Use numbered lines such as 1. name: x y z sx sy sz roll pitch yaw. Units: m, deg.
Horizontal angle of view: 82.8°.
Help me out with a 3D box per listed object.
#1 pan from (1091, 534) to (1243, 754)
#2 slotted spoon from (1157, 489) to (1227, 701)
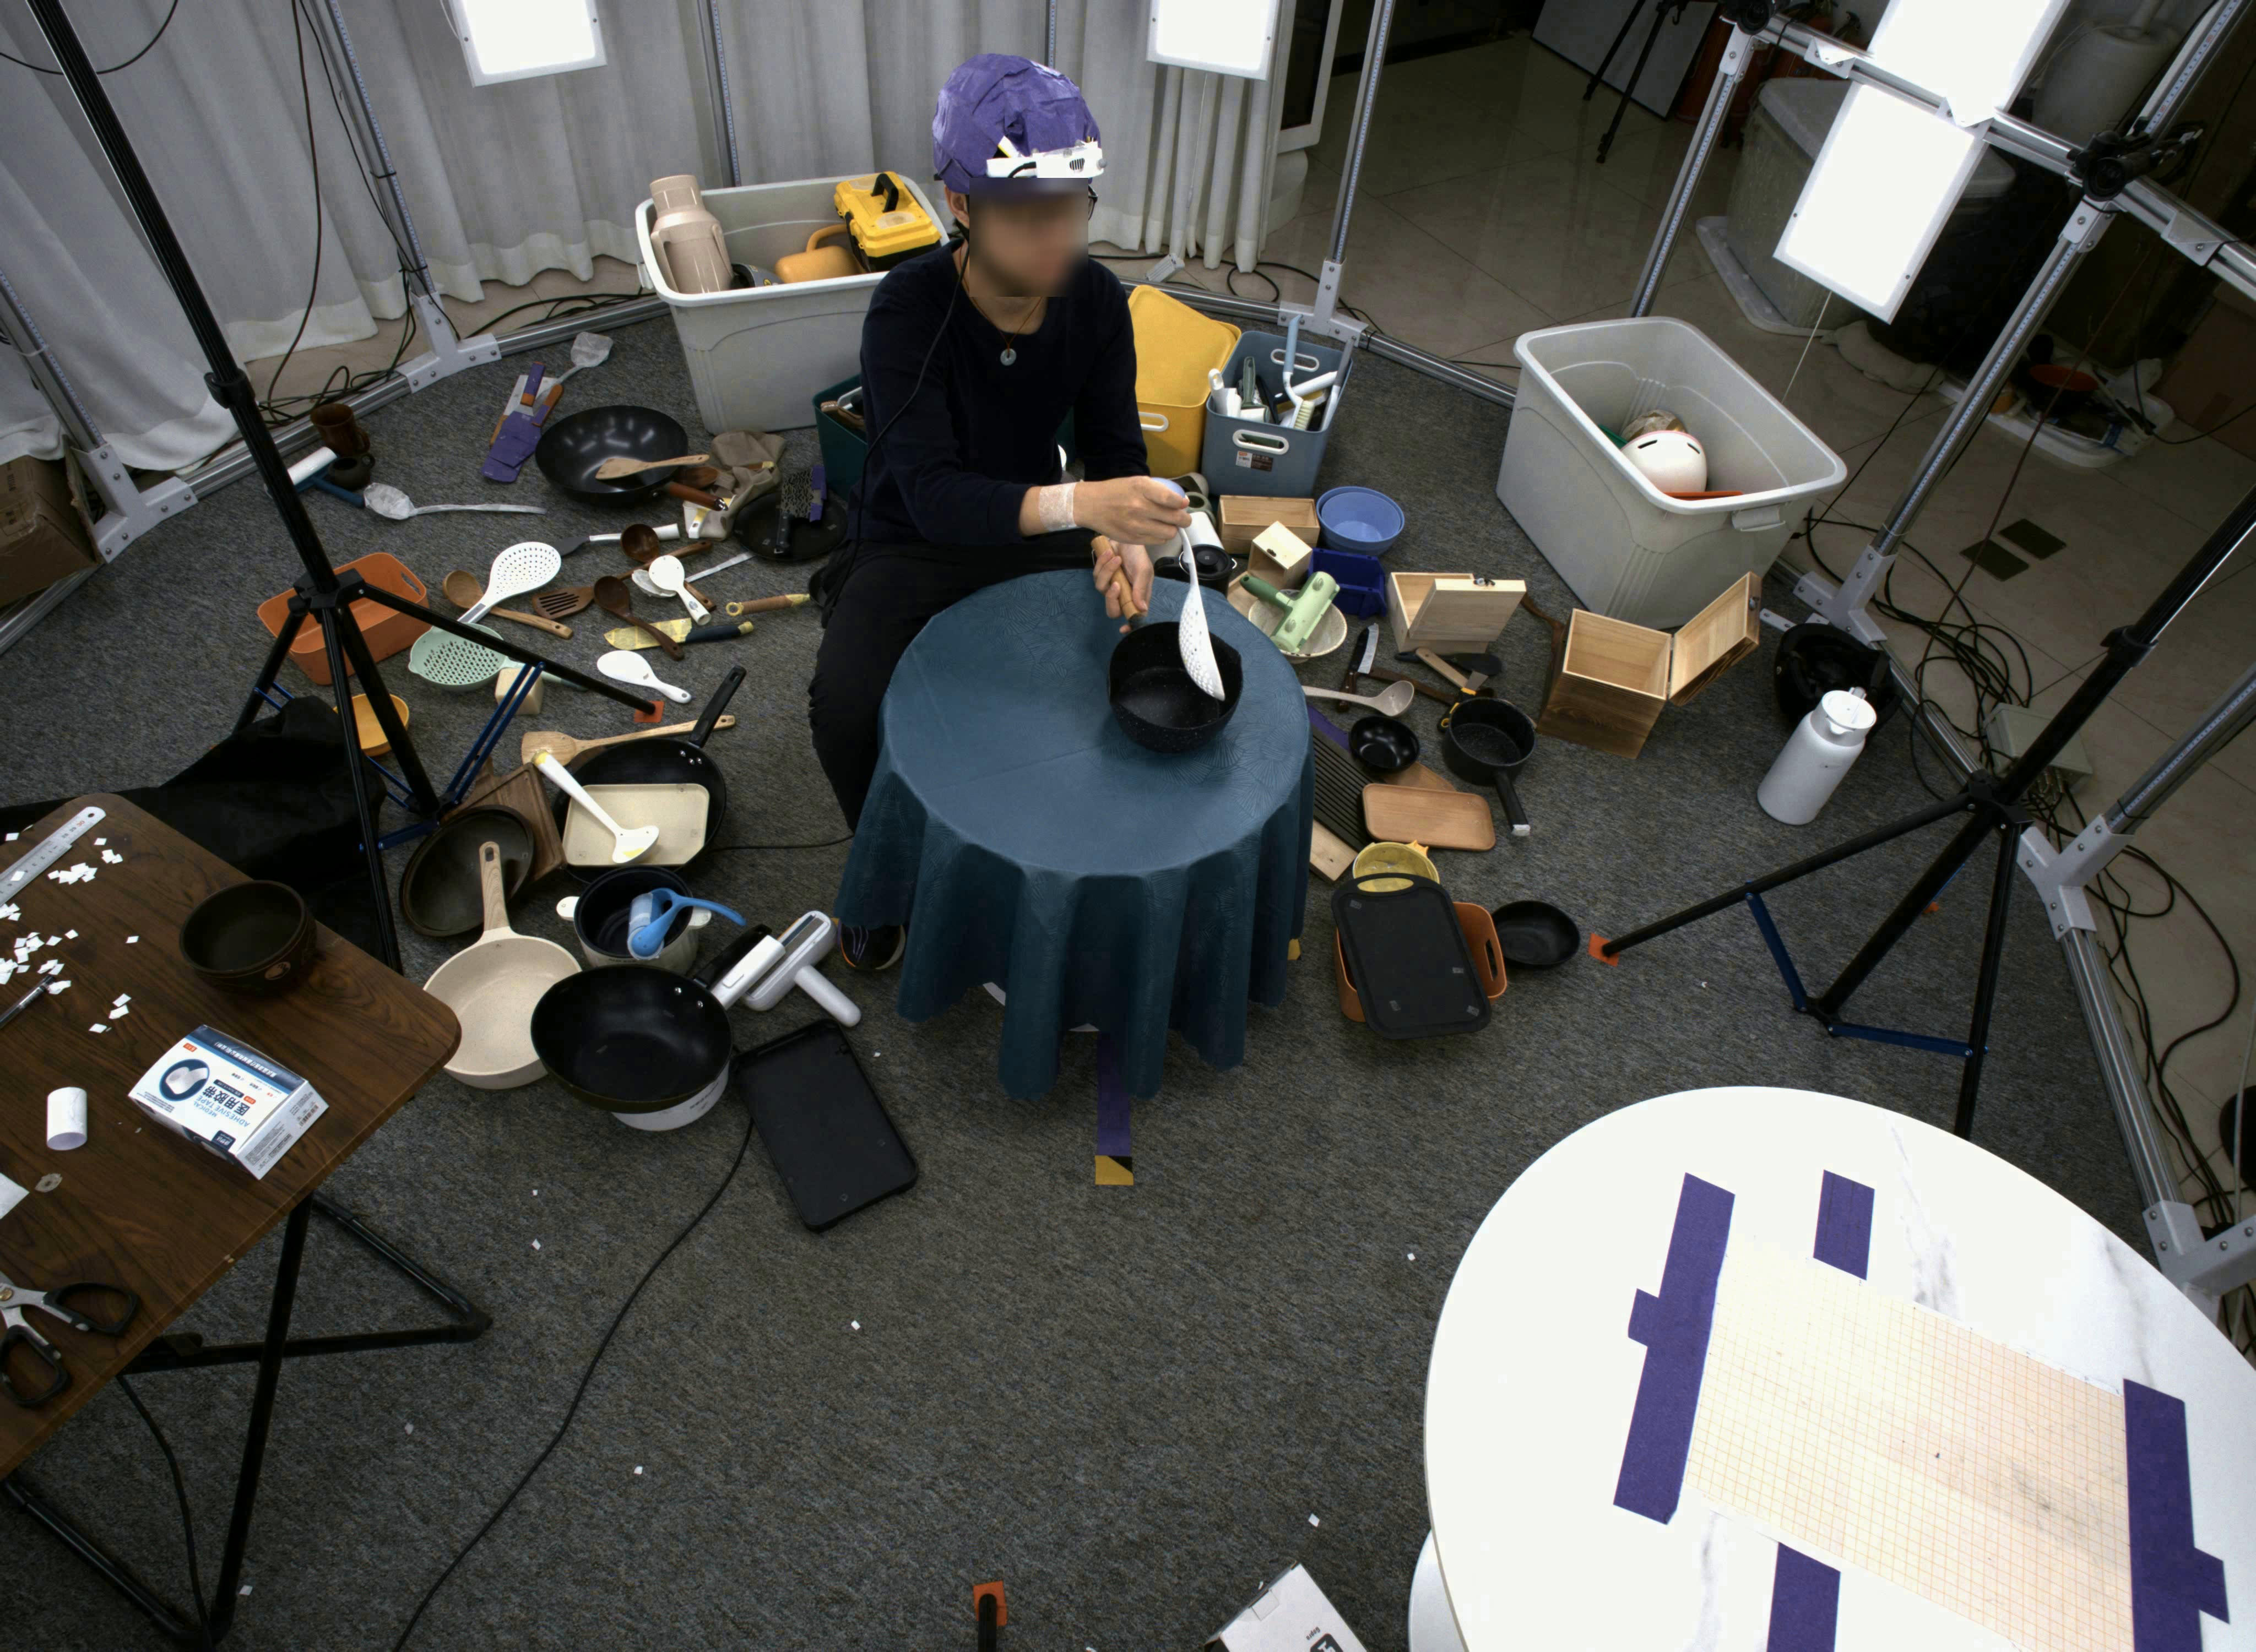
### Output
1. pan: 0.025 -0.253 1.793 0.208 0.106 0.349 -21 63 -18
2. slotted spoon: 0.079 -0.297 1.643 0.050 0.339 0.140 -13 50 -1
